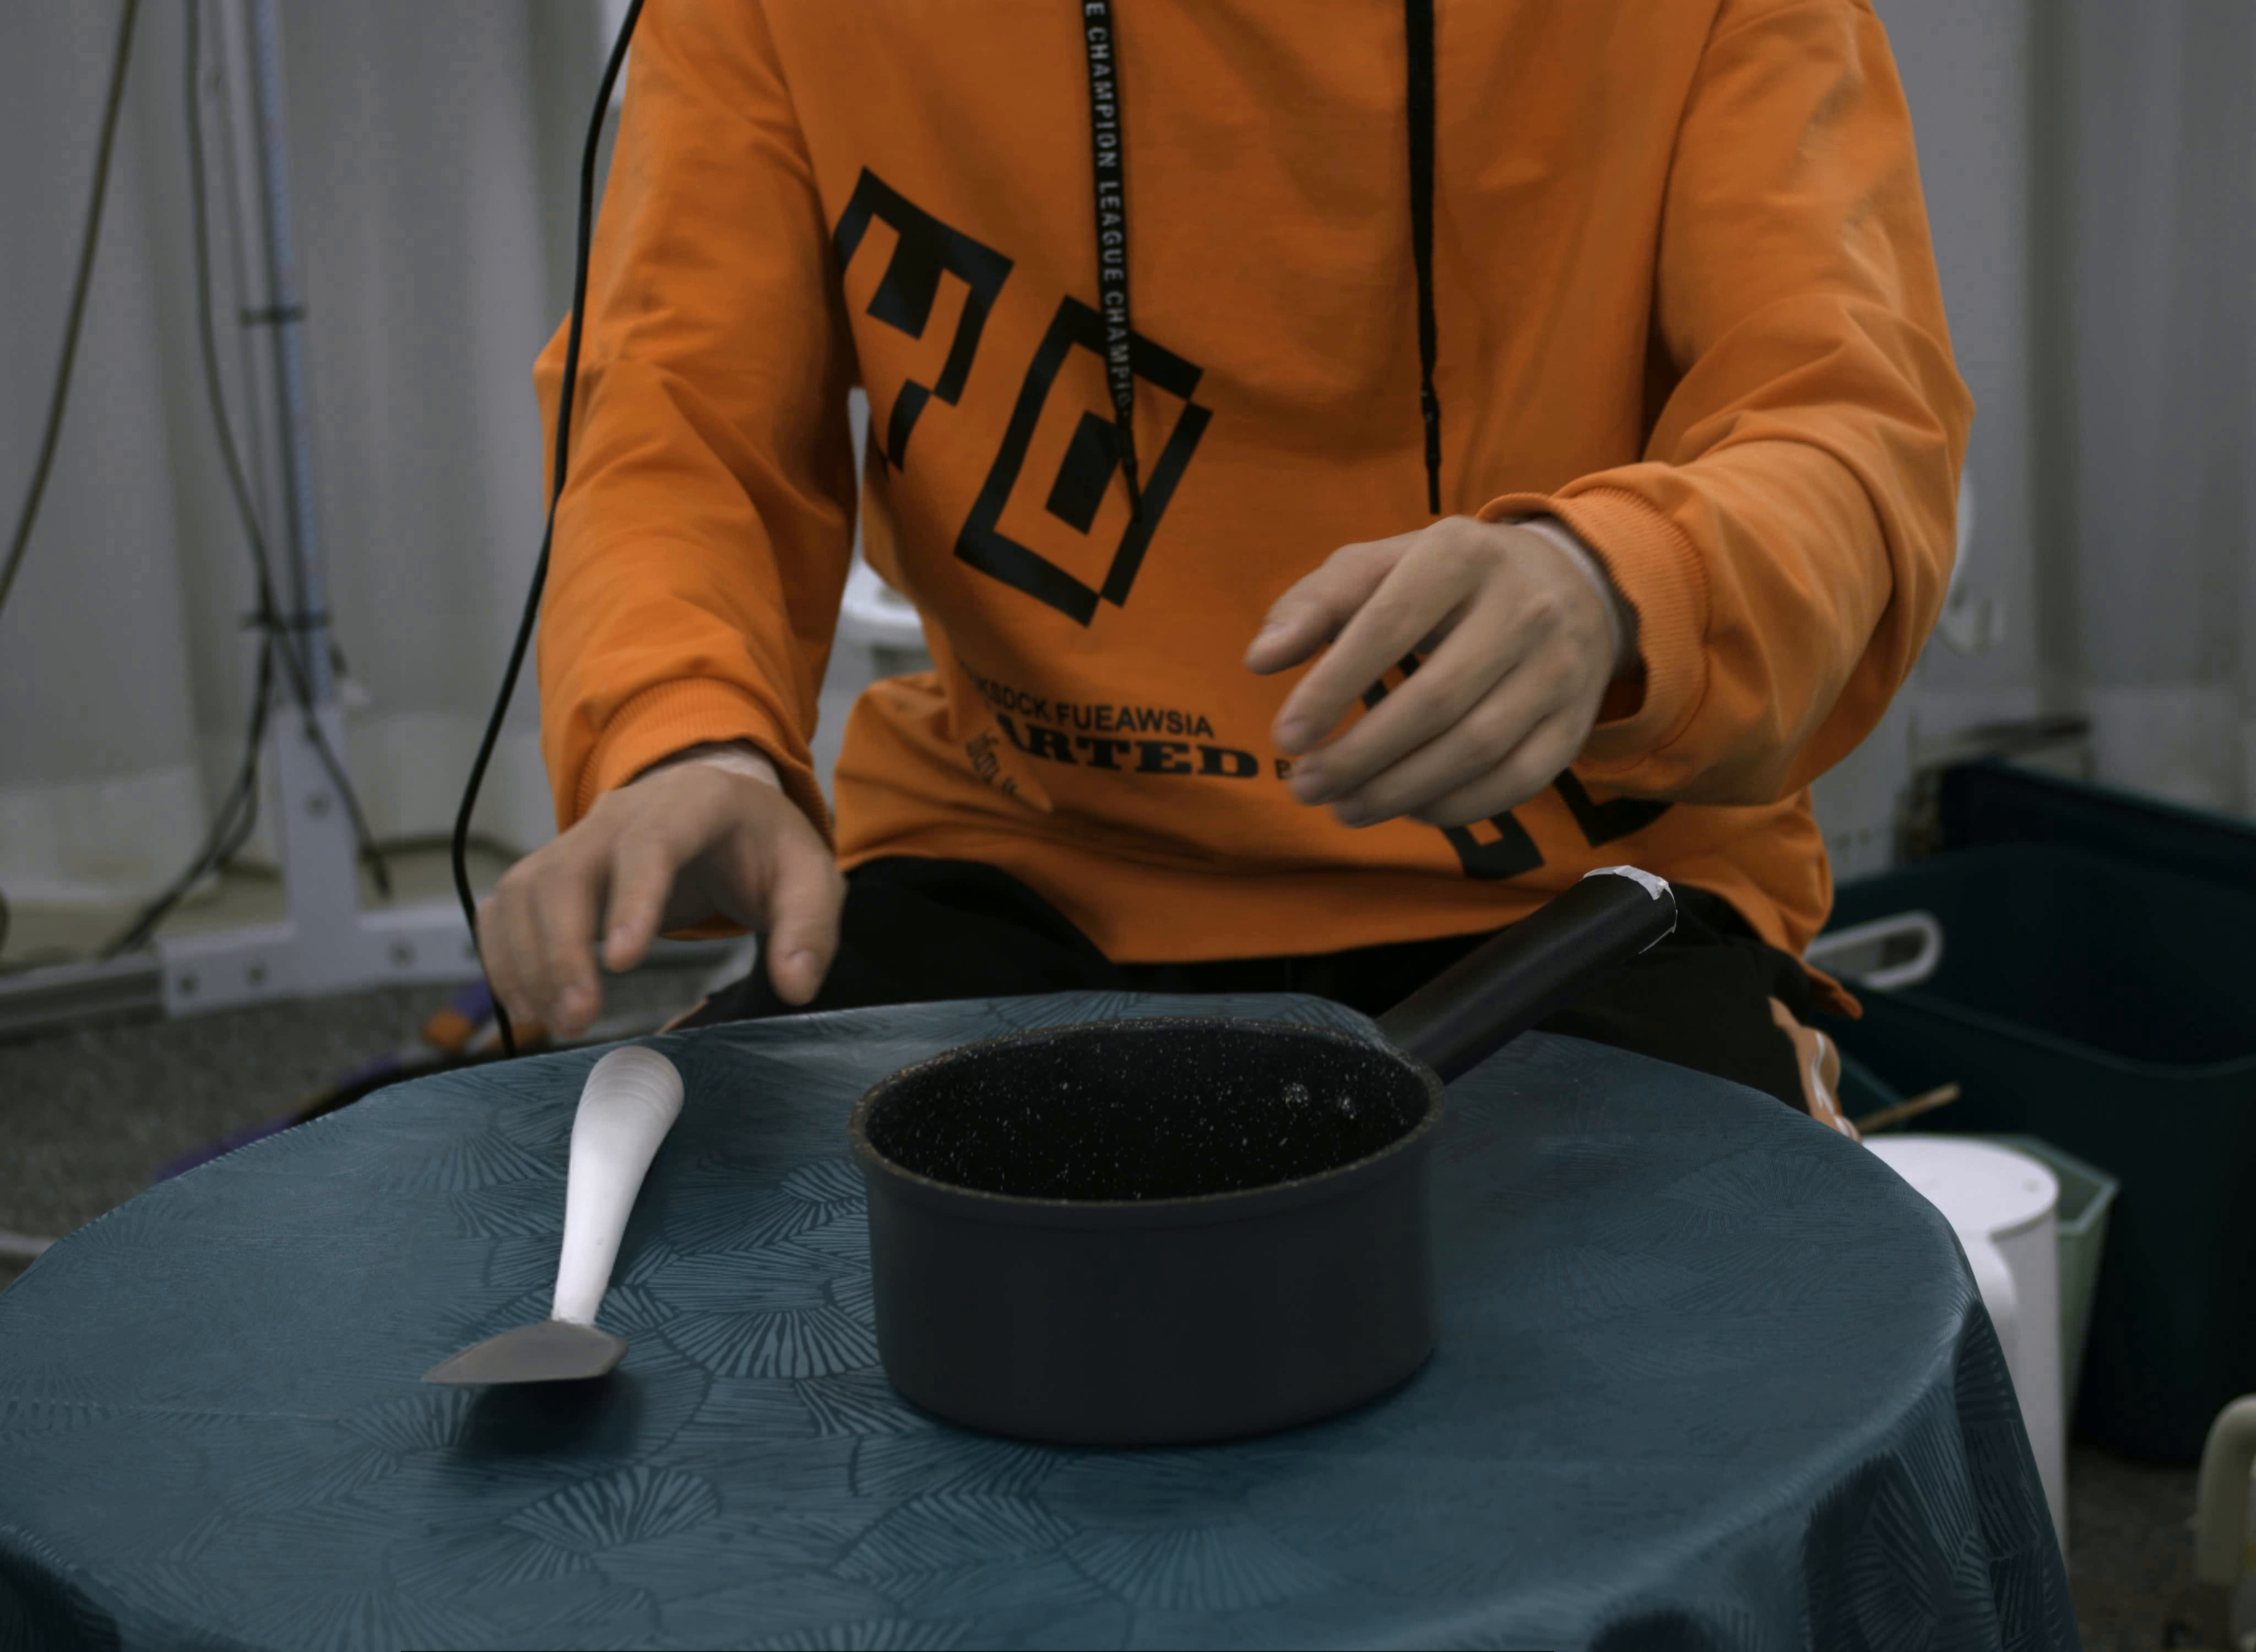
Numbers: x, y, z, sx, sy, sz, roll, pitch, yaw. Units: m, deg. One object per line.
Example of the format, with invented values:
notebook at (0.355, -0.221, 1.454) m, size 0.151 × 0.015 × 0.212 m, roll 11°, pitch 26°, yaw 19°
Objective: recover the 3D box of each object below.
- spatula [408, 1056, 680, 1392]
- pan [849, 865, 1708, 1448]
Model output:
spatula at (-0.166, 0.126, 1.645) m, size 0.058 × 0.032 × 0.289 m, roll 2°, pitch 15°, yaw 1°
pan at (0.061, 0.094, 1.619) m, size 0.173 × 0.086 × 0.328 m, roll 12°, pitch 23°, yaw 42°
